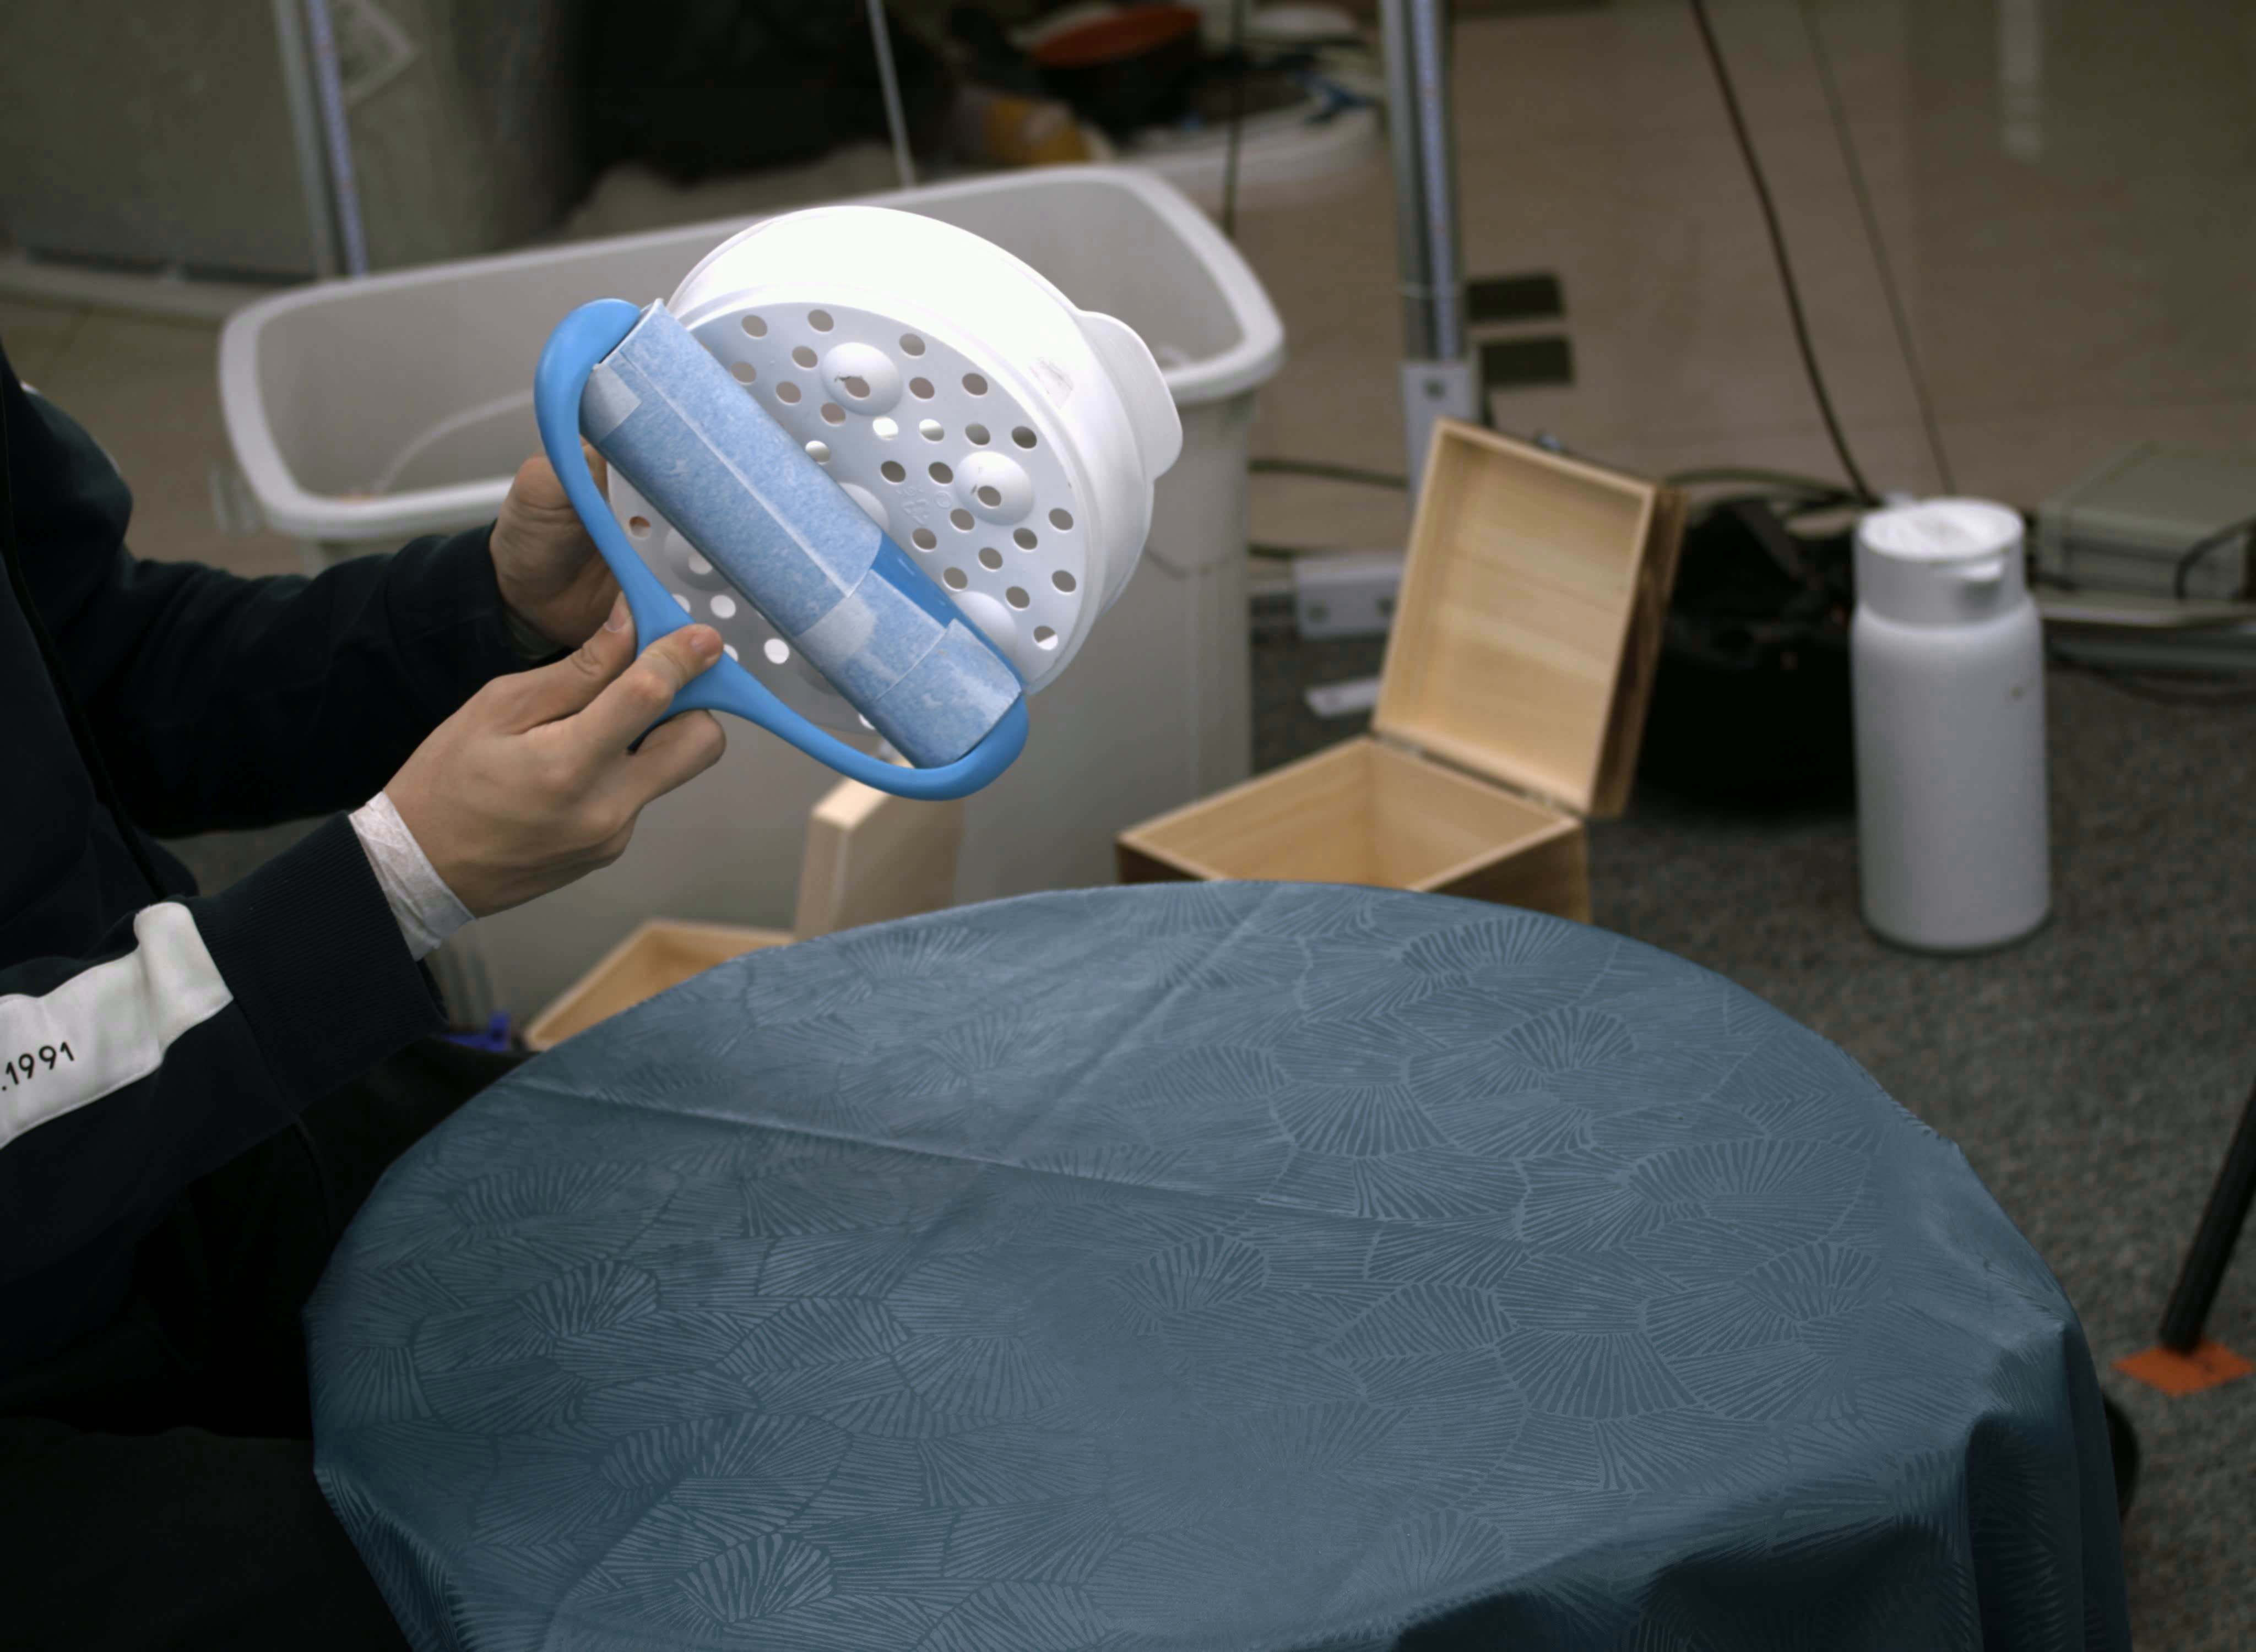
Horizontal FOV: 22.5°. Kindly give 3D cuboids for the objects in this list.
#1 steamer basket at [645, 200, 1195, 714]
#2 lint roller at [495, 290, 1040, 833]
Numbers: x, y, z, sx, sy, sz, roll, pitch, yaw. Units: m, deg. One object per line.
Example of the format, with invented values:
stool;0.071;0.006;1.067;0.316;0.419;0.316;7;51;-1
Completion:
steamer basket;-0.091;-0.127;2.080;0.231;0.205;0.068;-12;29;25
lint roller;-0.158;-0.063;2.035;0.180;0.230;0.067;-49;16;2
